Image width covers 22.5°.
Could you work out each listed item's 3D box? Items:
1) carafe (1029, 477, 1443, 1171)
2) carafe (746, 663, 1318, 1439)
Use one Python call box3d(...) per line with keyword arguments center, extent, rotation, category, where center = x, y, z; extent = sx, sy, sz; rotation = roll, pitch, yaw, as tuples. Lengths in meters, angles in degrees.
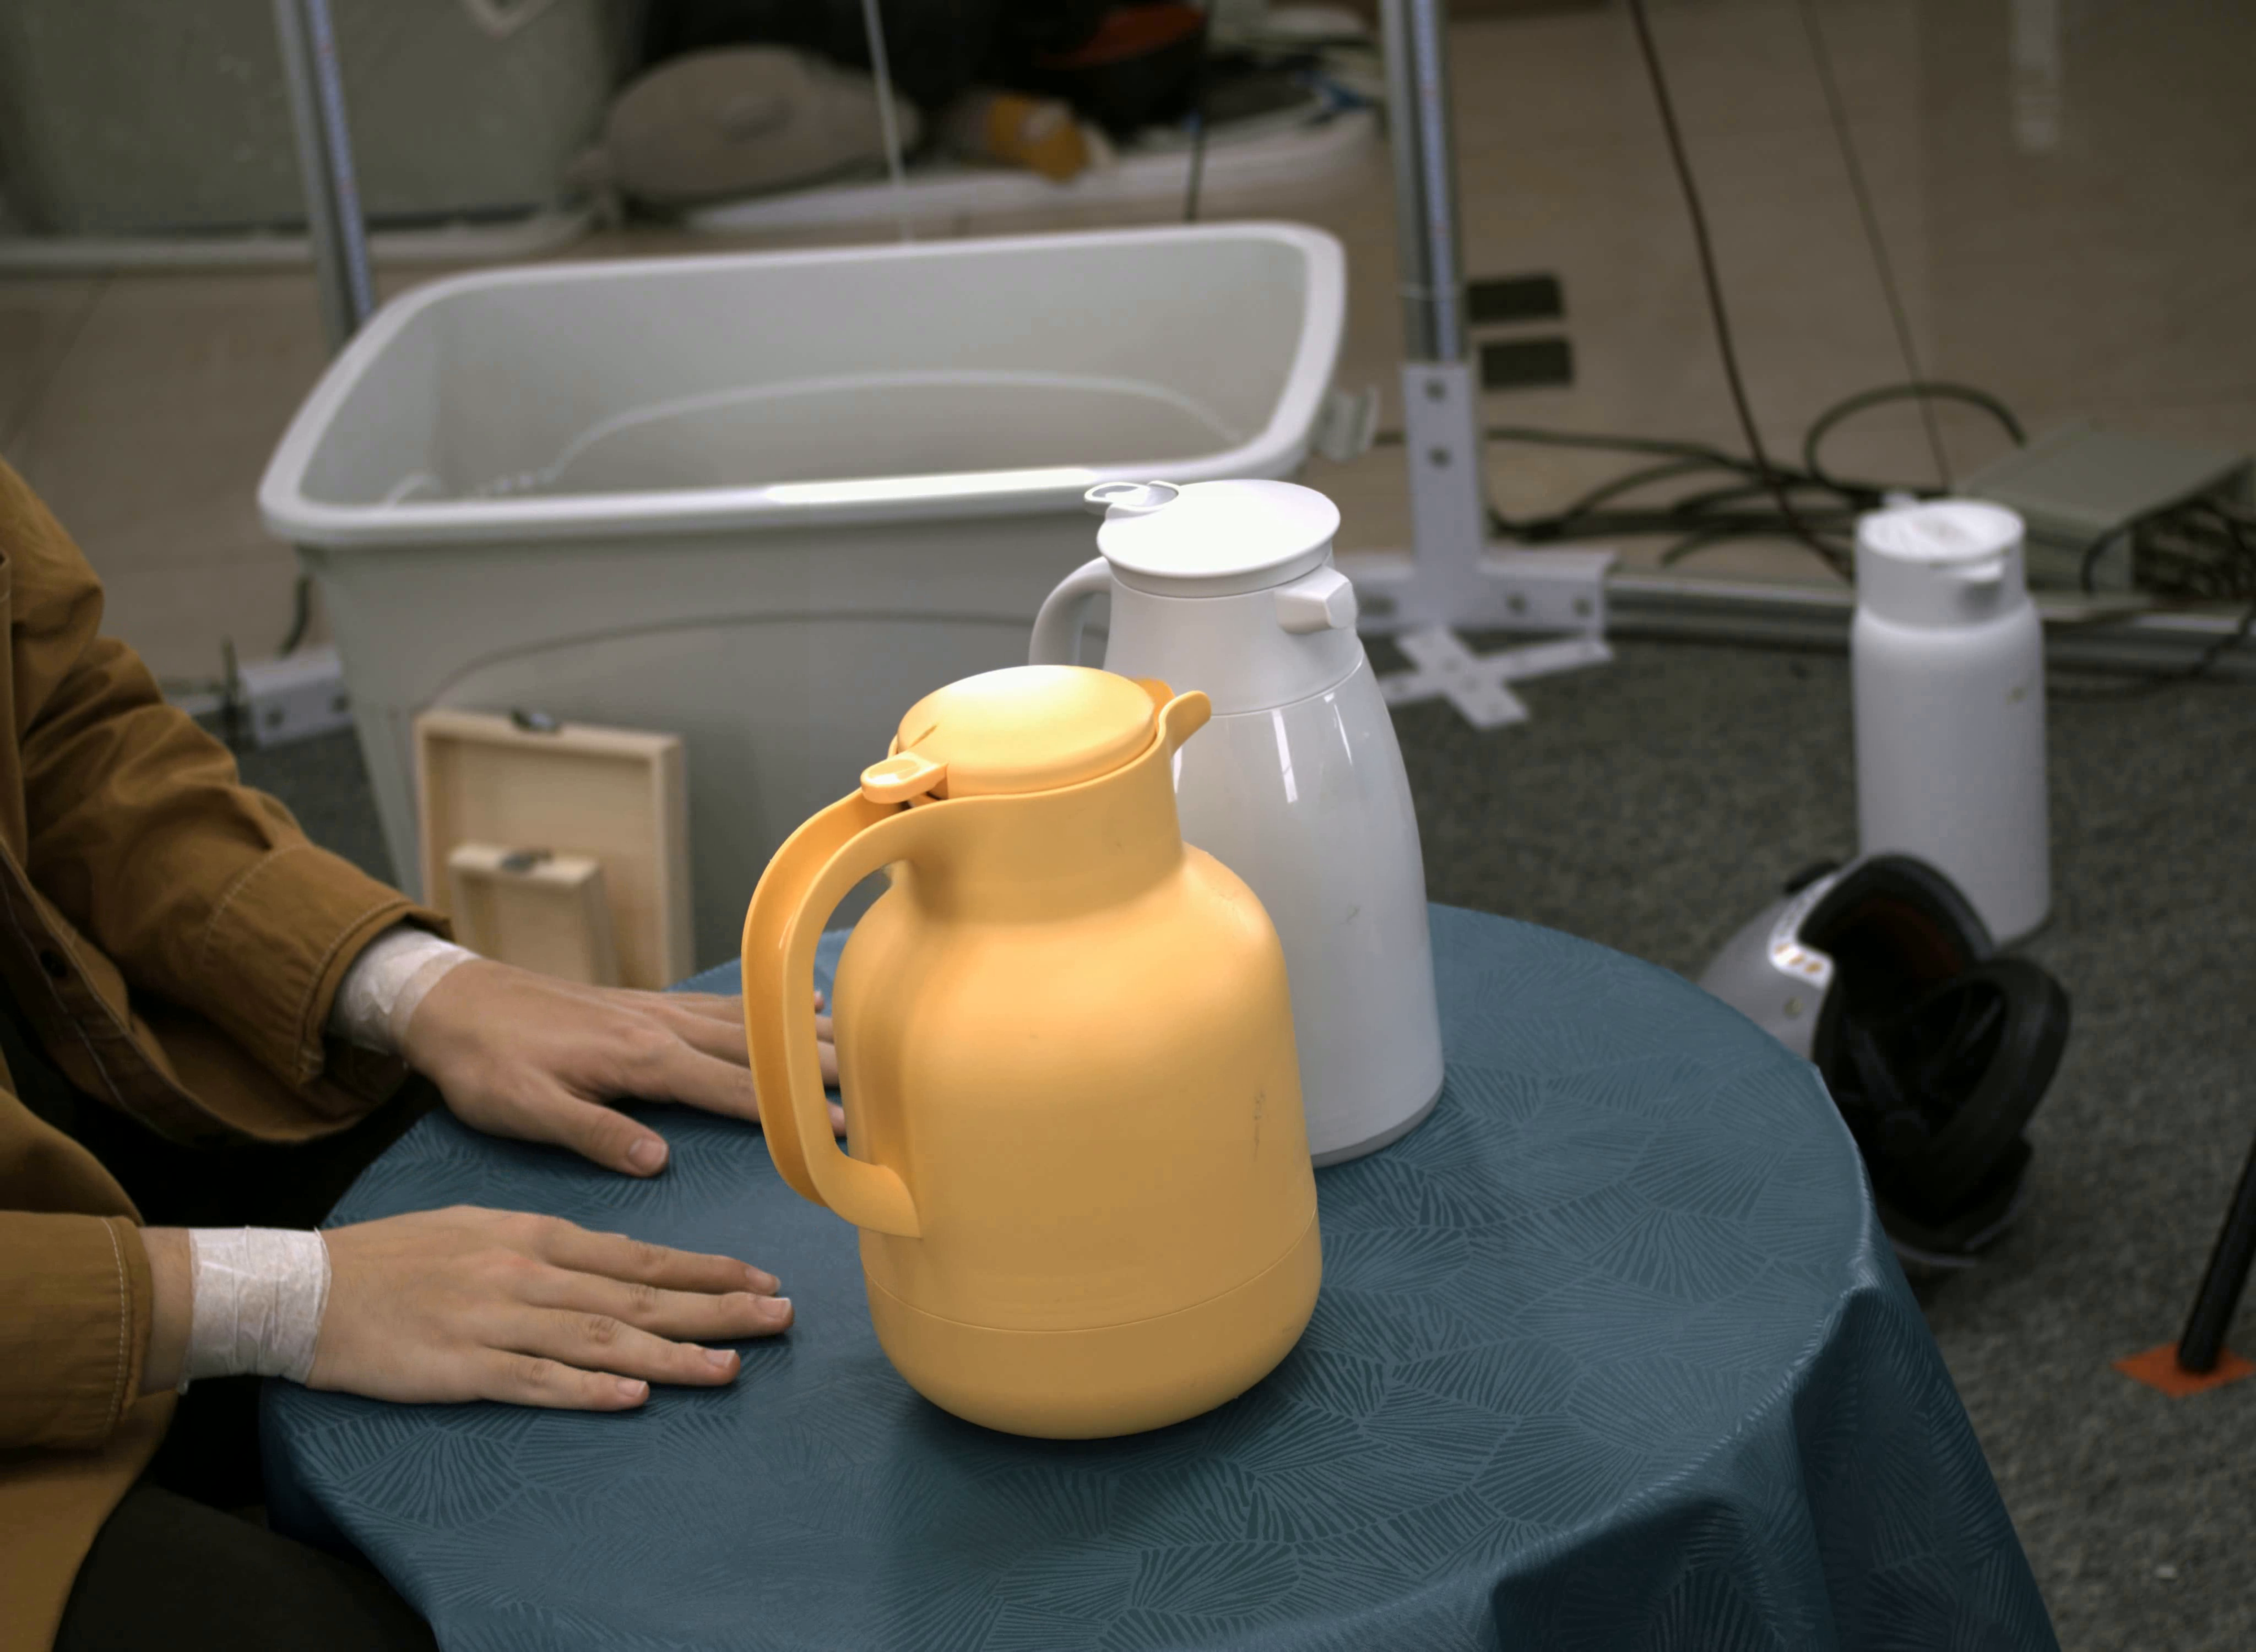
box3d(center=(0.031, -0.010, 2.164), extent=(0.166, 0.252, 0.131), rotation=(17, 34, 40), category="carafe")
box3d(center=(-0.038, 0.080, 1.974), extent=(0.201, 0.264, 0.162), rotation=(-21, 27, -30), category="carafe")
